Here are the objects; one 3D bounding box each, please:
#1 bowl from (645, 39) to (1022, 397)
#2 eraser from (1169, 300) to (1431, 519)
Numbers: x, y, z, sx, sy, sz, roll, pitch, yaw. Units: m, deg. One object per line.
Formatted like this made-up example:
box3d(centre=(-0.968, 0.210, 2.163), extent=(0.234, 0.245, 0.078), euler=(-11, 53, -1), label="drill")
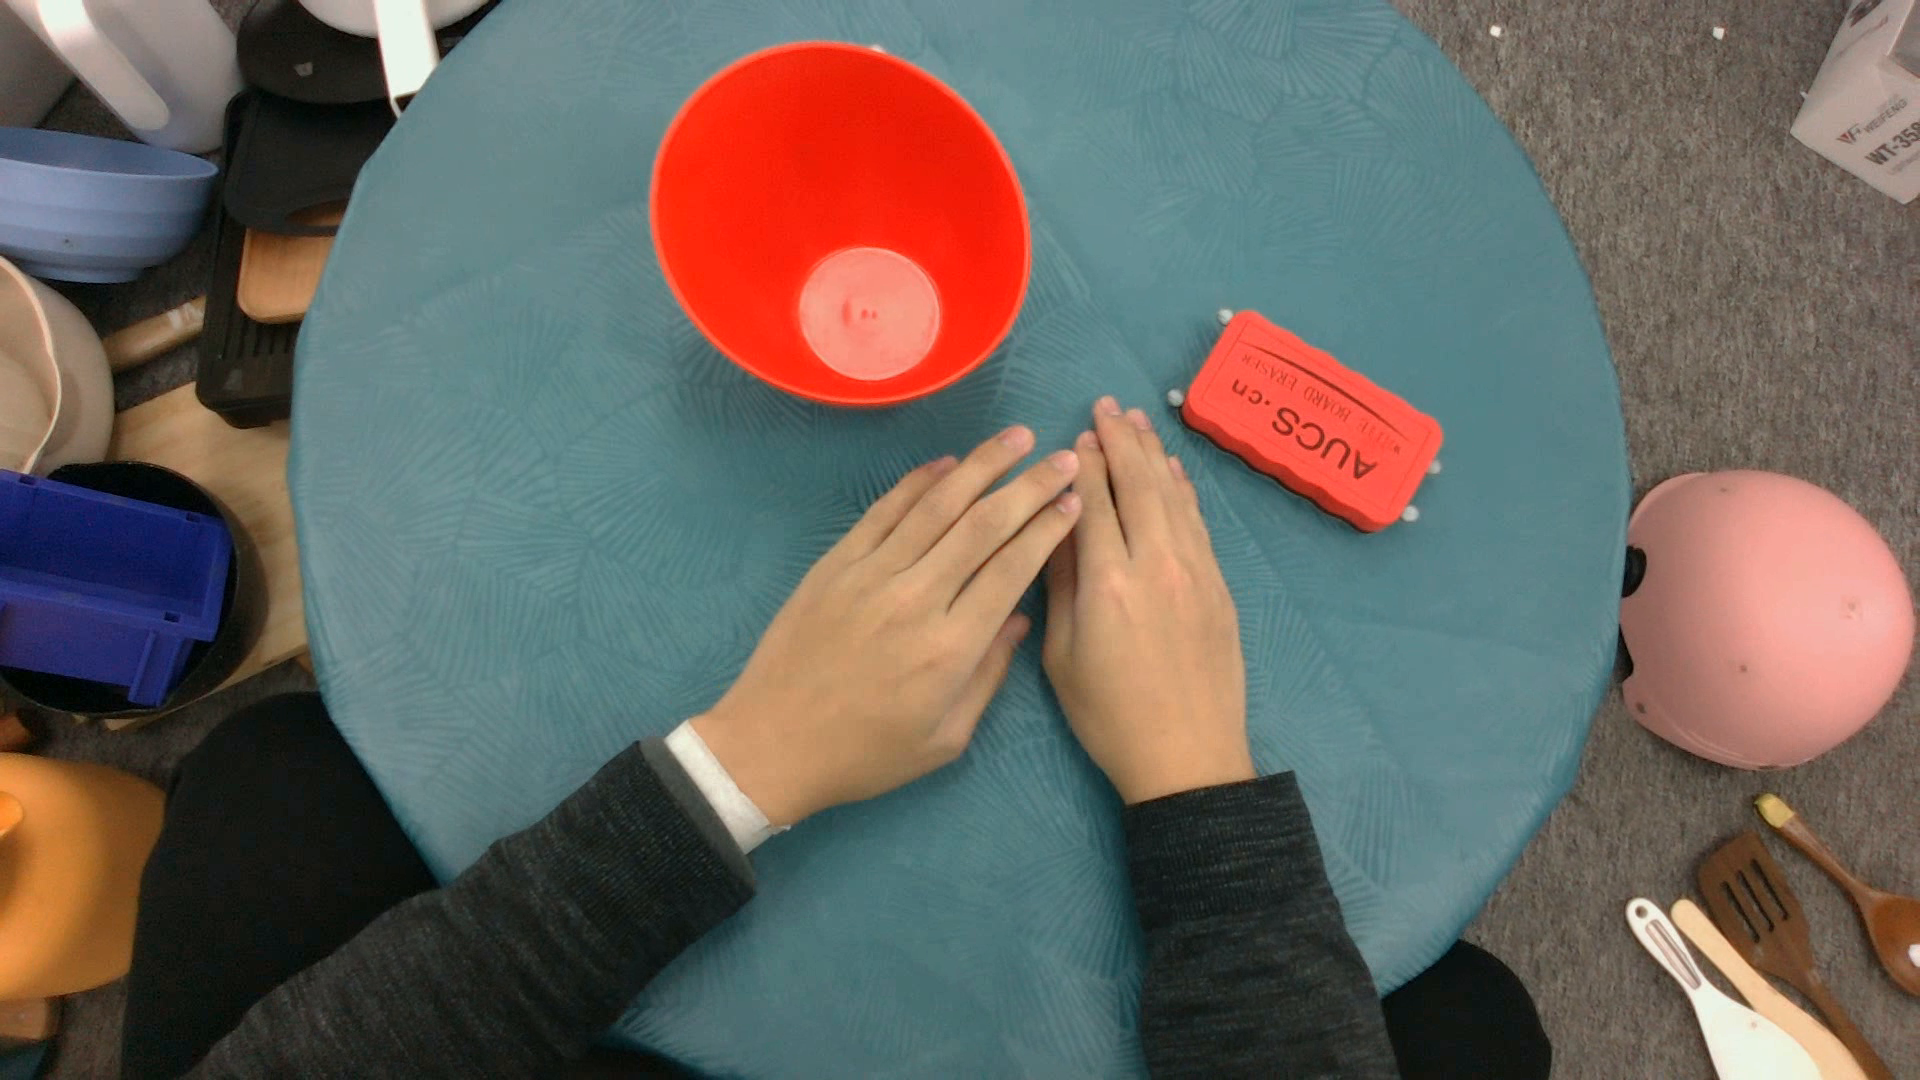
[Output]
box3d(centre=(-0.051, -0.120, 0.577), extent=(0.148, 0.104, 0.148), euler=(2, 76, -6), label="bowl")
box3d(centre=(0.153, -0.059, 0.622), extent=(0.108, 0.023, 0.059), euler=(31, 73, 3), label="eraser")
